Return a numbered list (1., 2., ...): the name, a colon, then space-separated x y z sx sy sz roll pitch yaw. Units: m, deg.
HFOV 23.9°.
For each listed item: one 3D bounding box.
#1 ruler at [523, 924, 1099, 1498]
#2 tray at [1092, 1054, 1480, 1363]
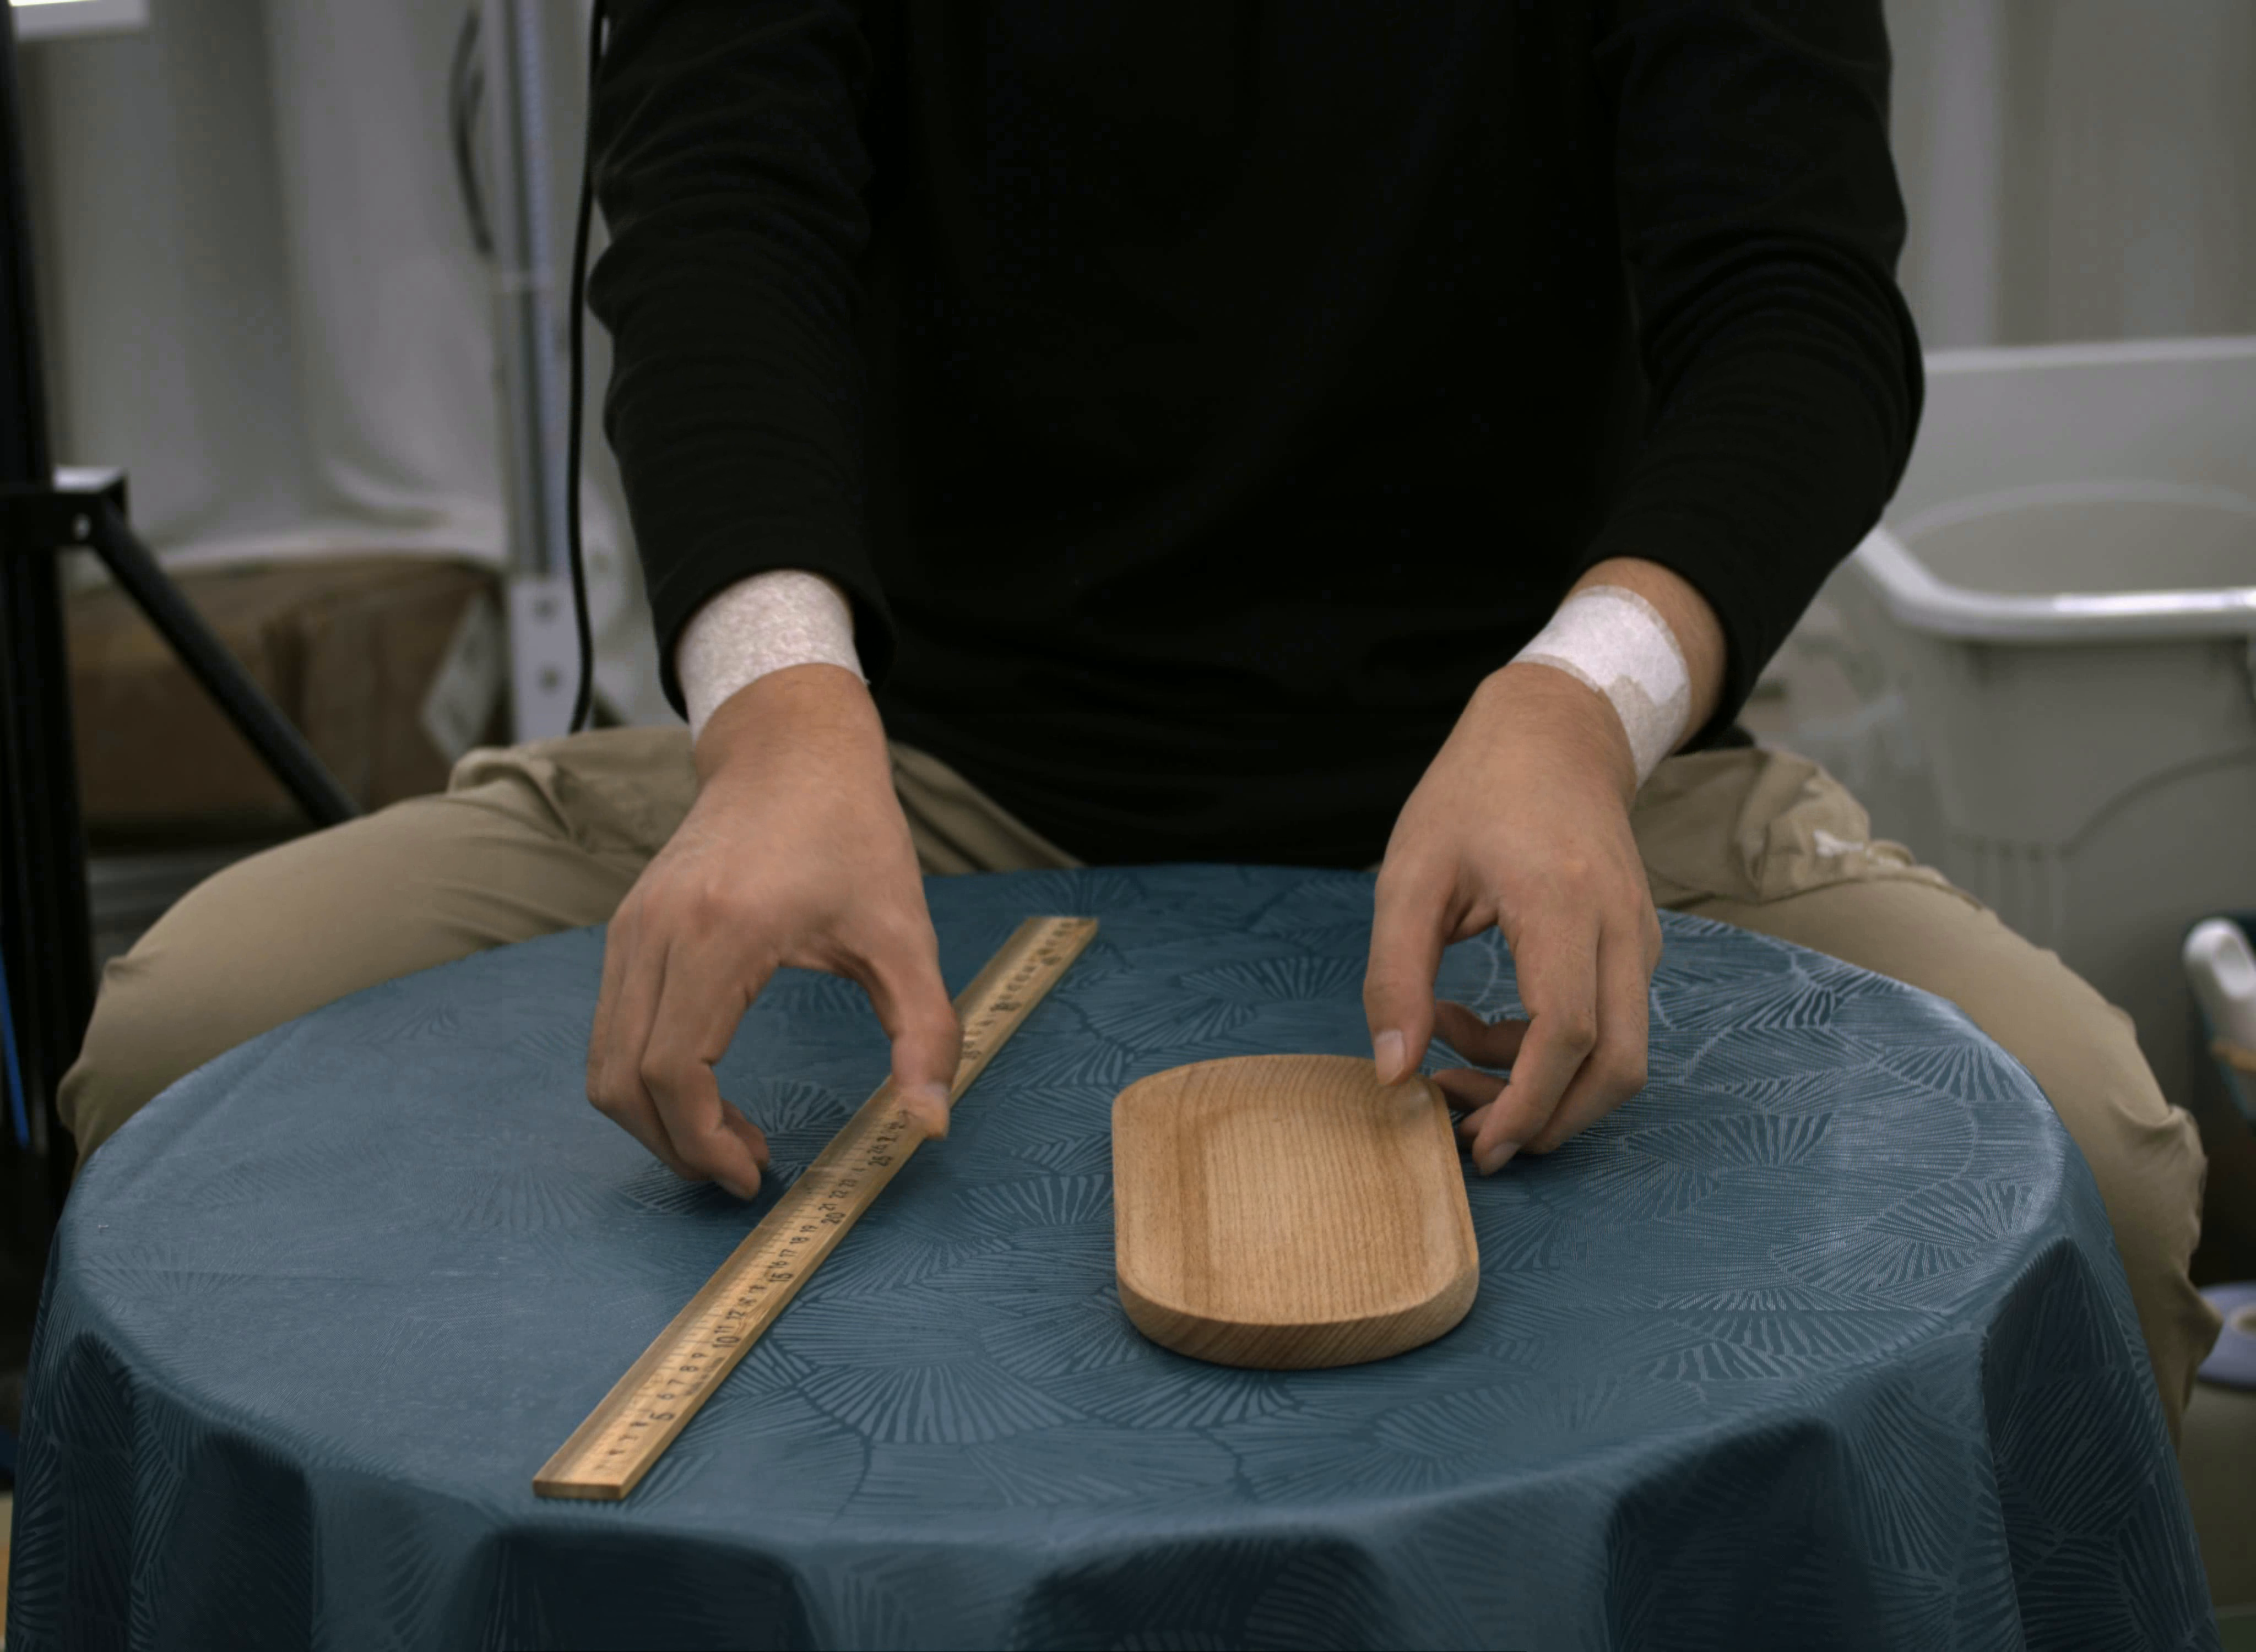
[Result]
1. ruler: -0.081 0.102 1.583 0.027 0.006 0.496 3 16 14
2. tray: 0.043 0.107 1.523 0.101 0.020 0.232 -2 14 -2
